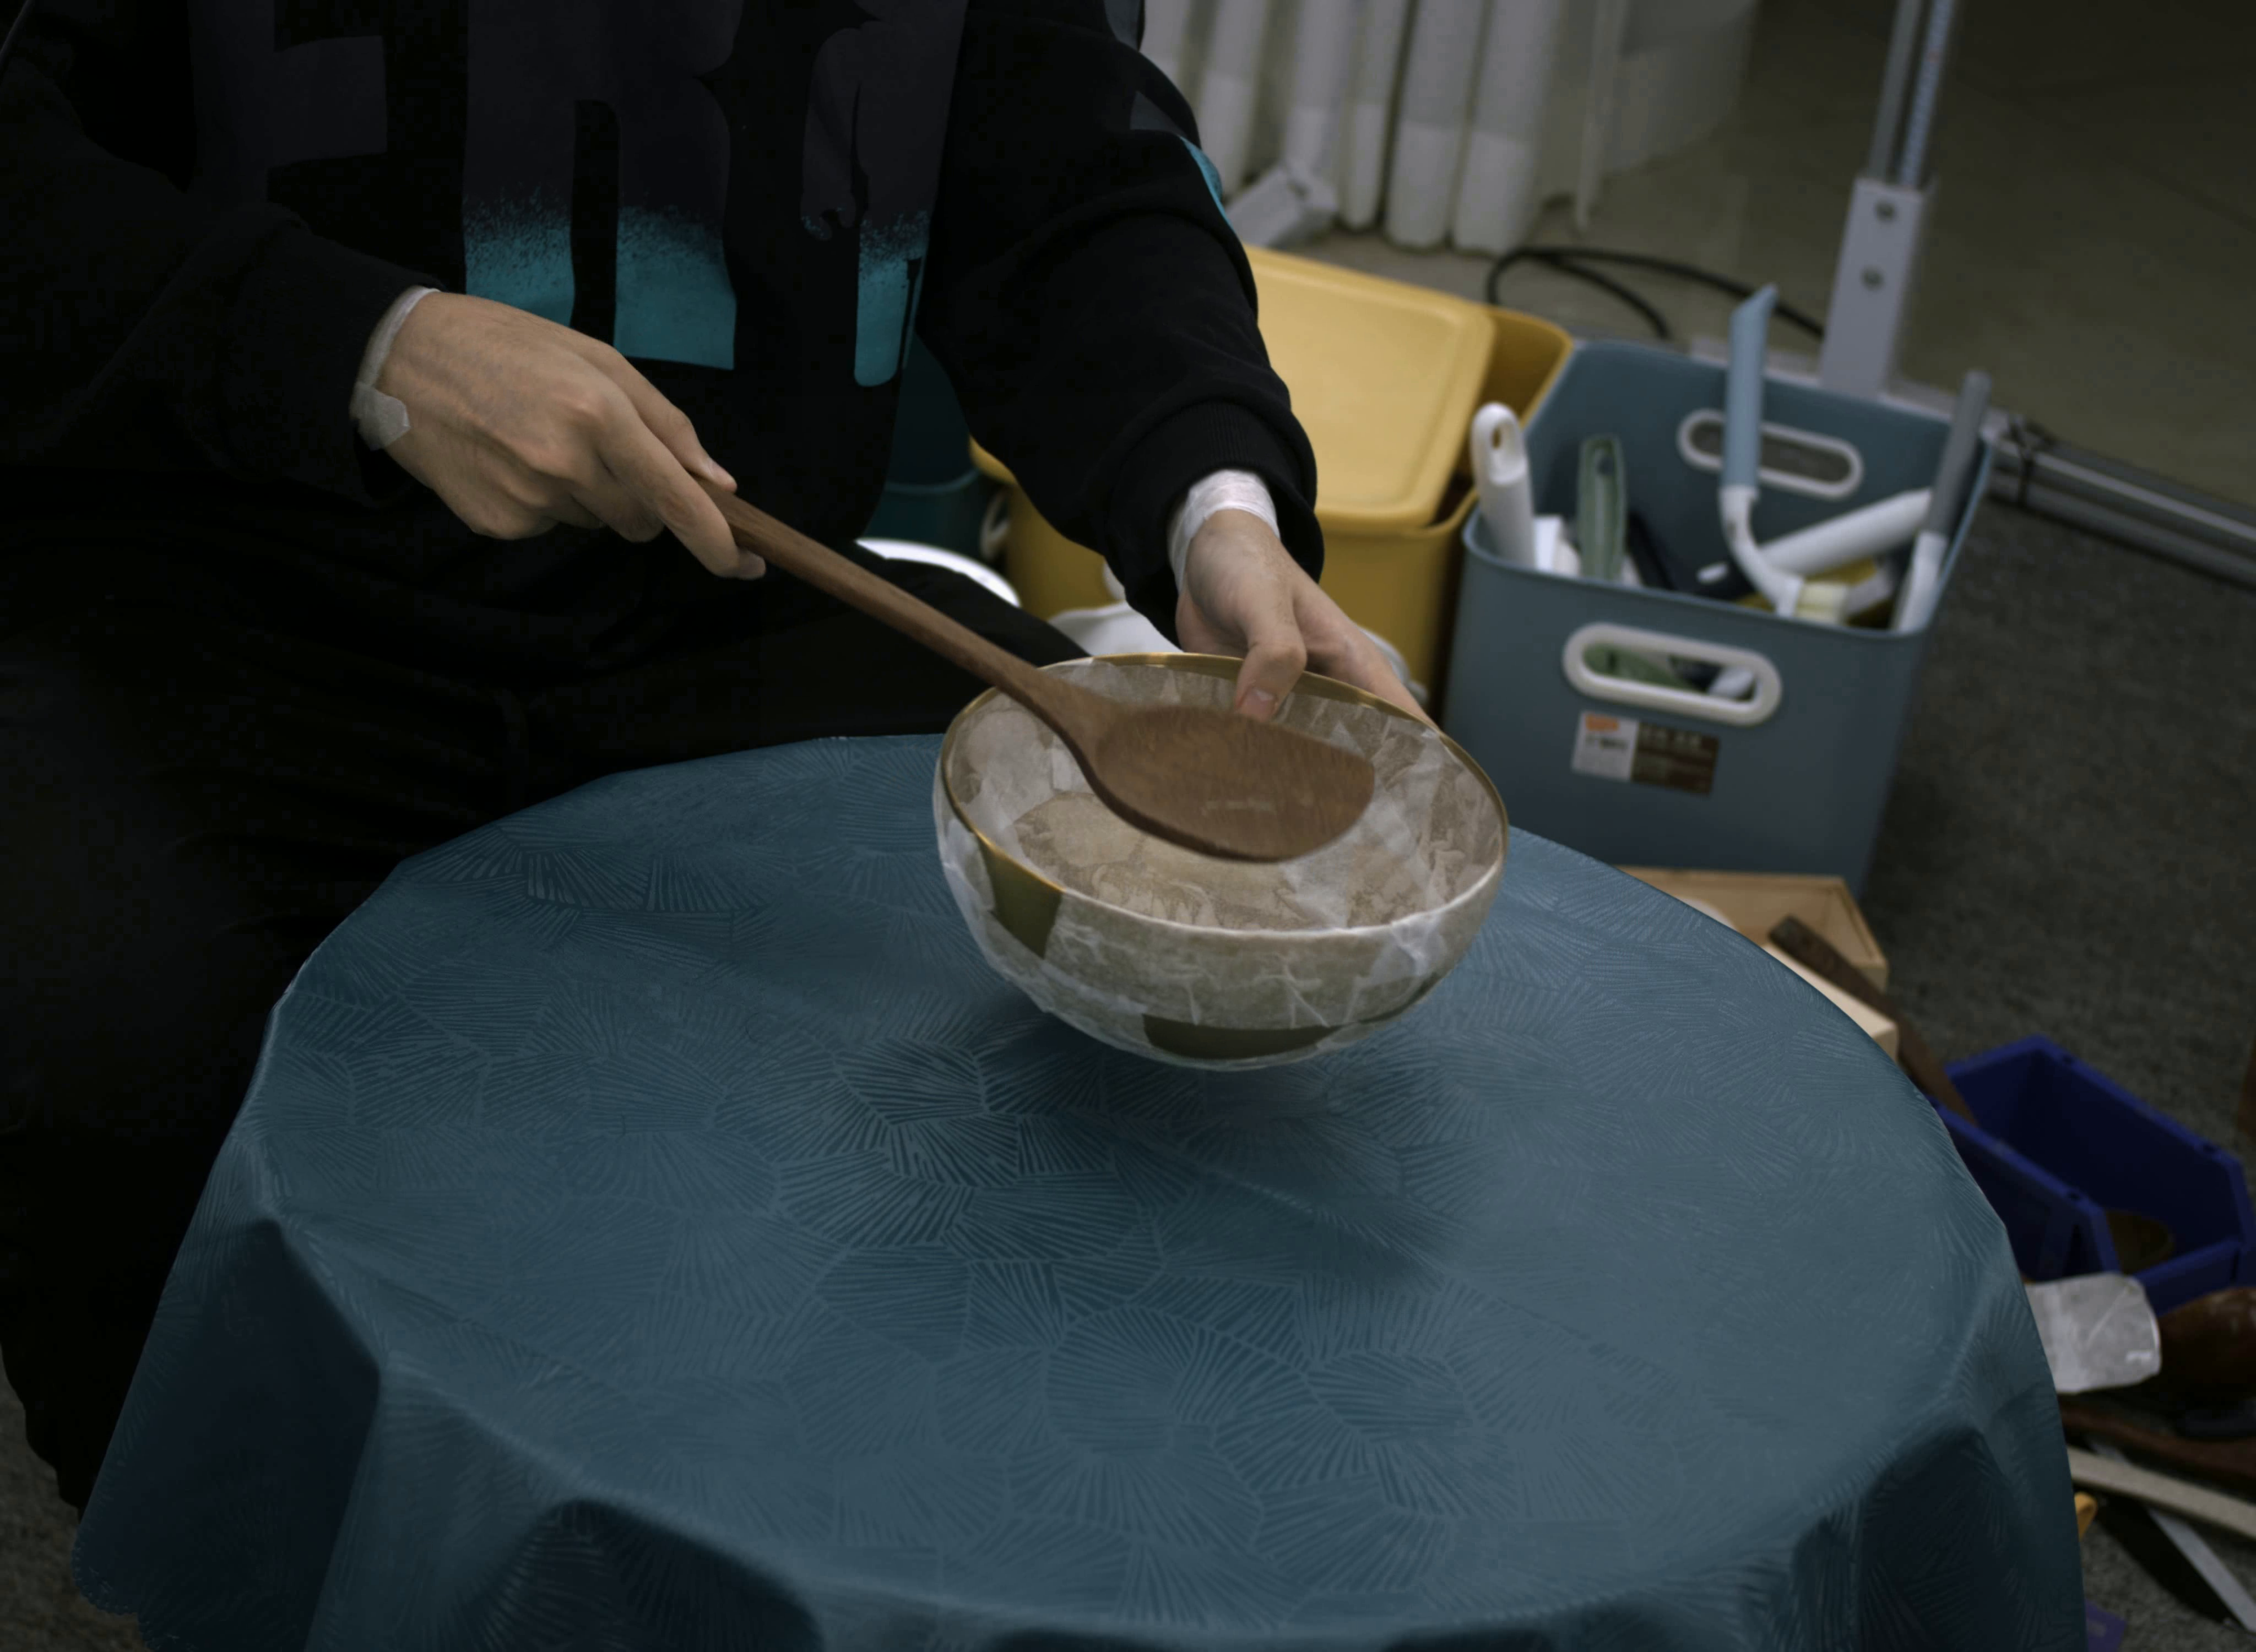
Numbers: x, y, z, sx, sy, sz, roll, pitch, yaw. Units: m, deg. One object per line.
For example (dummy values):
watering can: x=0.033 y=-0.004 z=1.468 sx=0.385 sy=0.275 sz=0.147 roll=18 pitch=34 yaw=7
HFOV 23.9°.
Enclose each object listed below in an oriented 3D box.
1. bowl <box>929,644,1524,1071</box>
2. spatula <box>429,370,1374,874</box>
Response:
bowl: x=0.029 y=0.023 z=1.855 sx=0.214 sy=0.094 sz=0.216 roll=4 pitch=27 yaw=-3
spatula: x=-0.089 y=-0.078 z=1.868 sx=0.387 sy=0.016 sz=0.096 roll=28 pitch=33 yaw=18
